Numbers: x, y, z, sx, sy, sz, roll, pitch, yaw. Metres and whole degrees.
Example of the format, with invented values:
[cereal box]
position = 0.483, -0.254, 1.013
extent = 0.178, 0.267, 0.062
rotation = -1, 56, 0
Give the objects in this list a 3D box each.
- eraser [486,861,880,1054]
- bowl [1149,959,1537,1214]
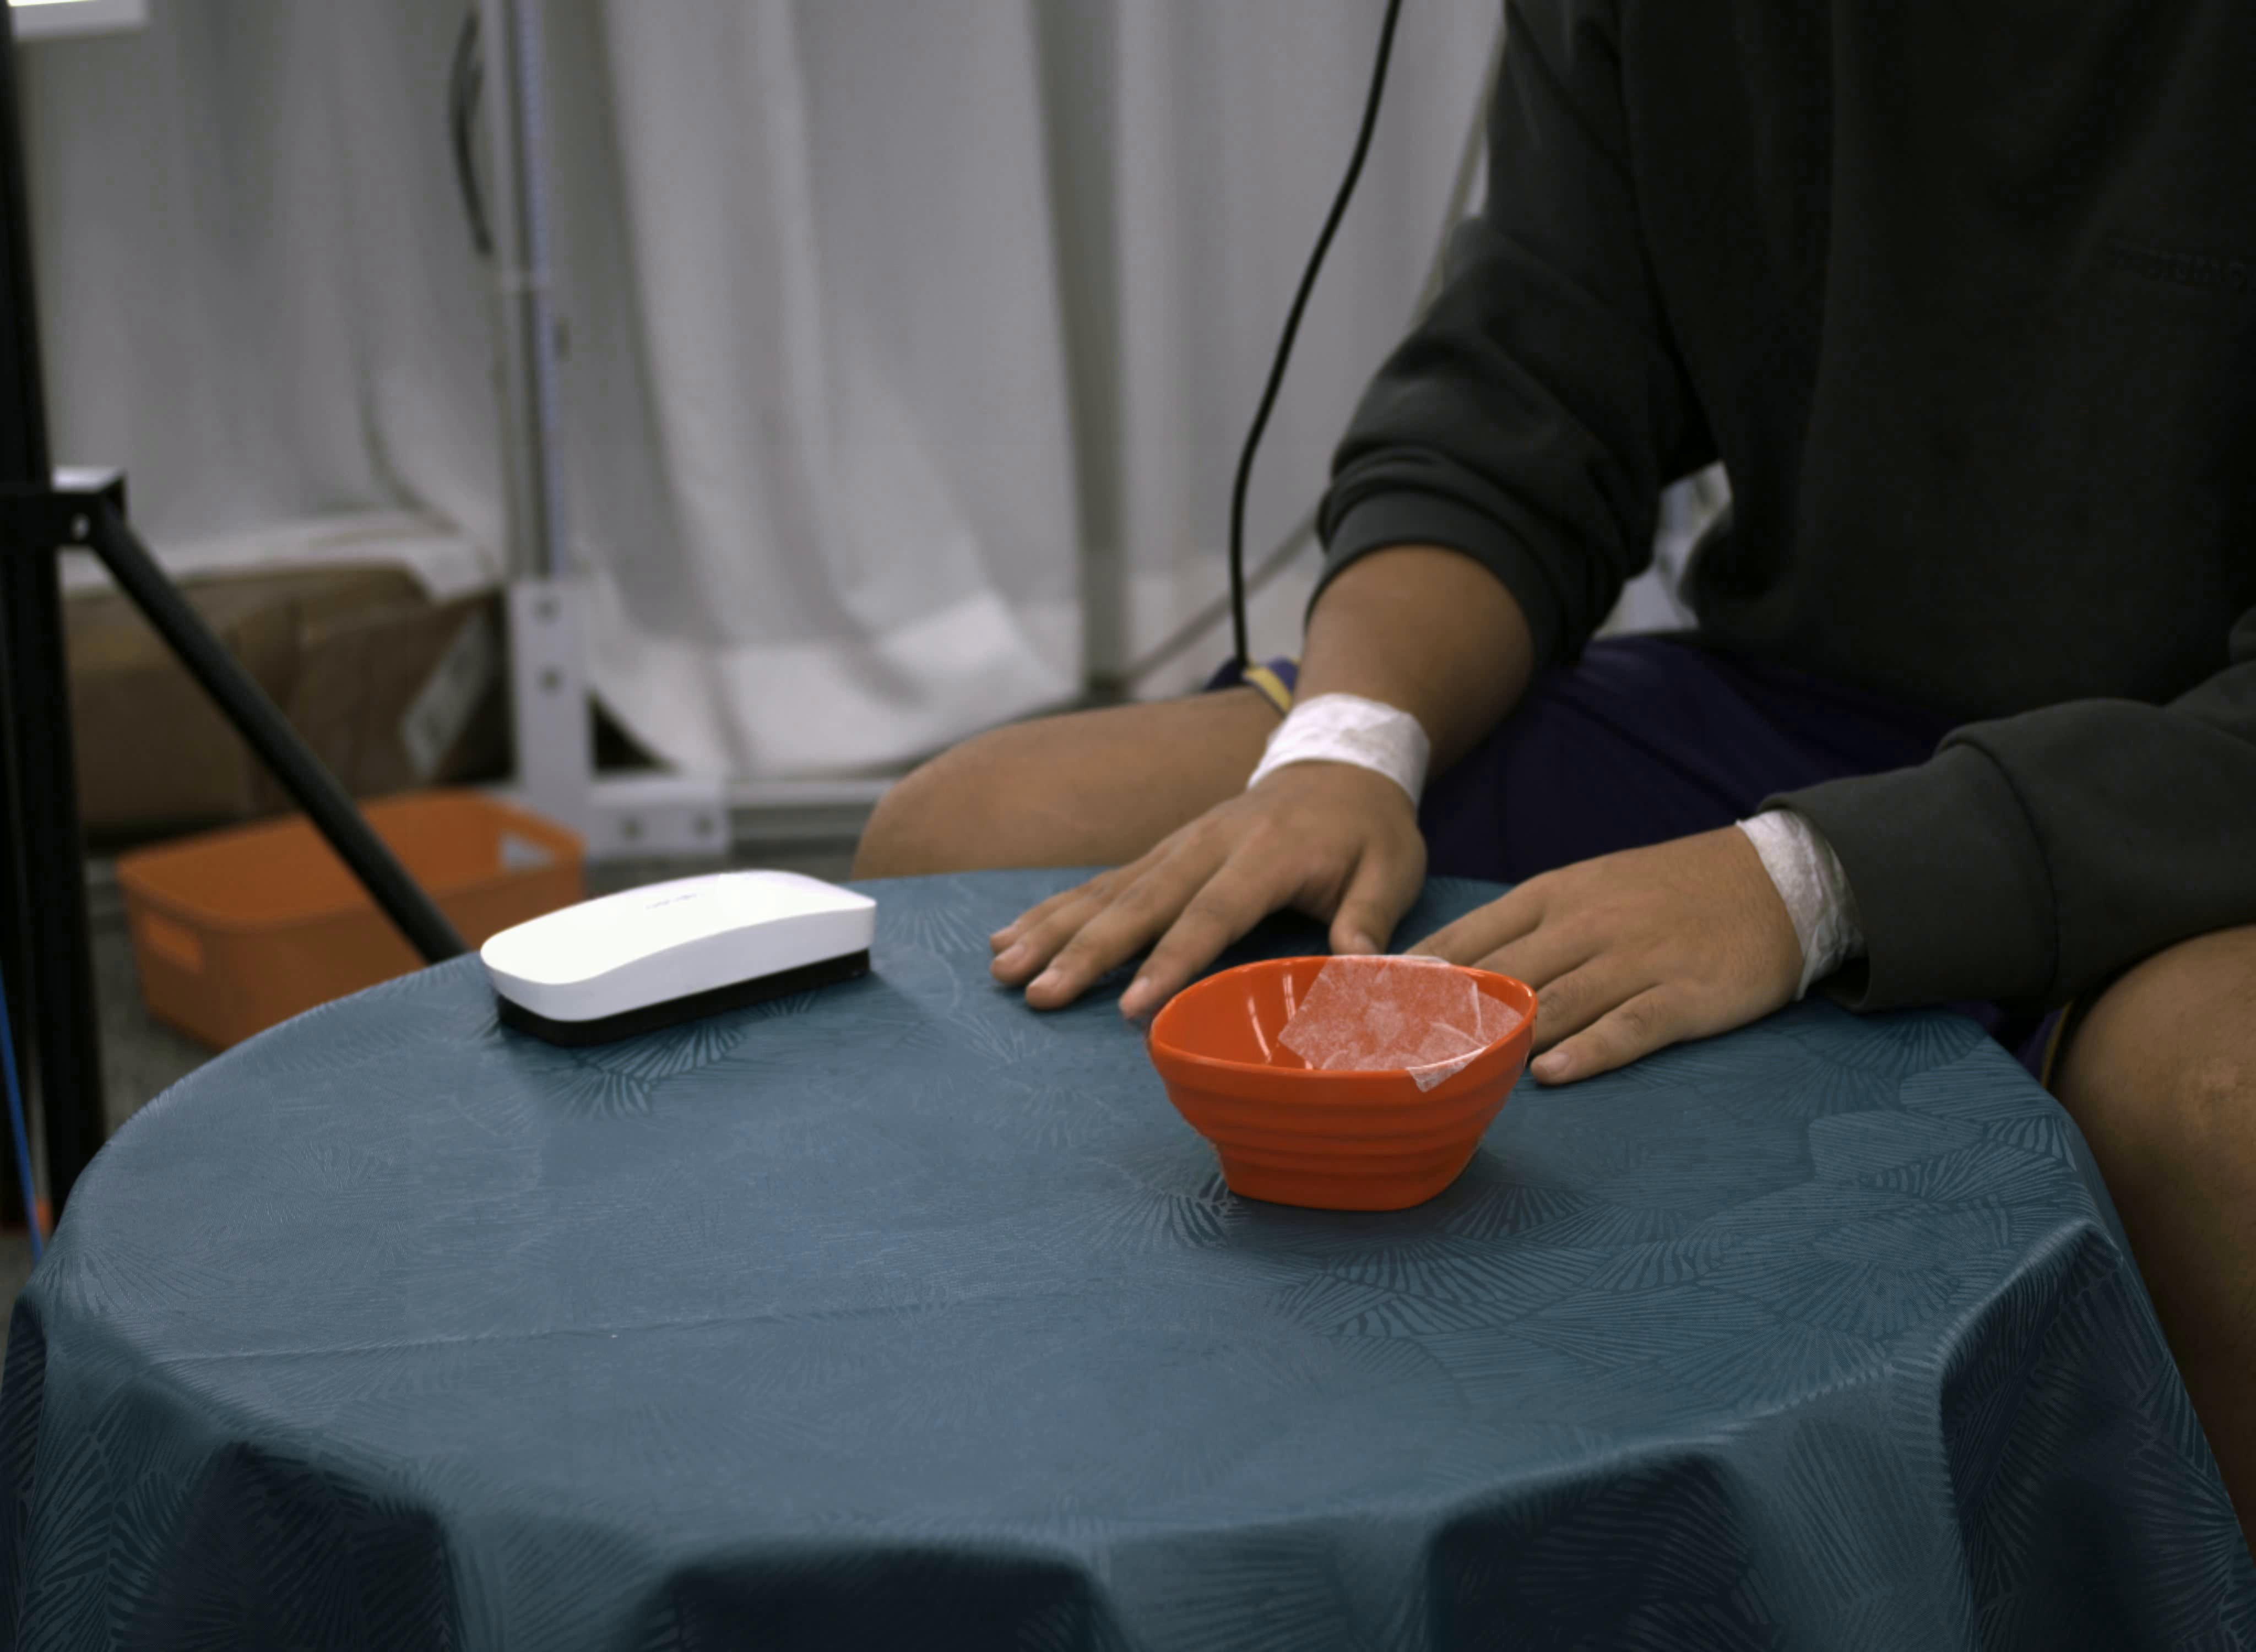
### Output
[eraser]
position = -0.145, 0.040, 1.764
extent = 0.128, 0.034, 0.065
rotation = -16, 22, -33
[bowl]
position = 0.065, 0.079, 1.560
extent = 0.118, 0.051, 0.119
rotation = -3, 15, -1
